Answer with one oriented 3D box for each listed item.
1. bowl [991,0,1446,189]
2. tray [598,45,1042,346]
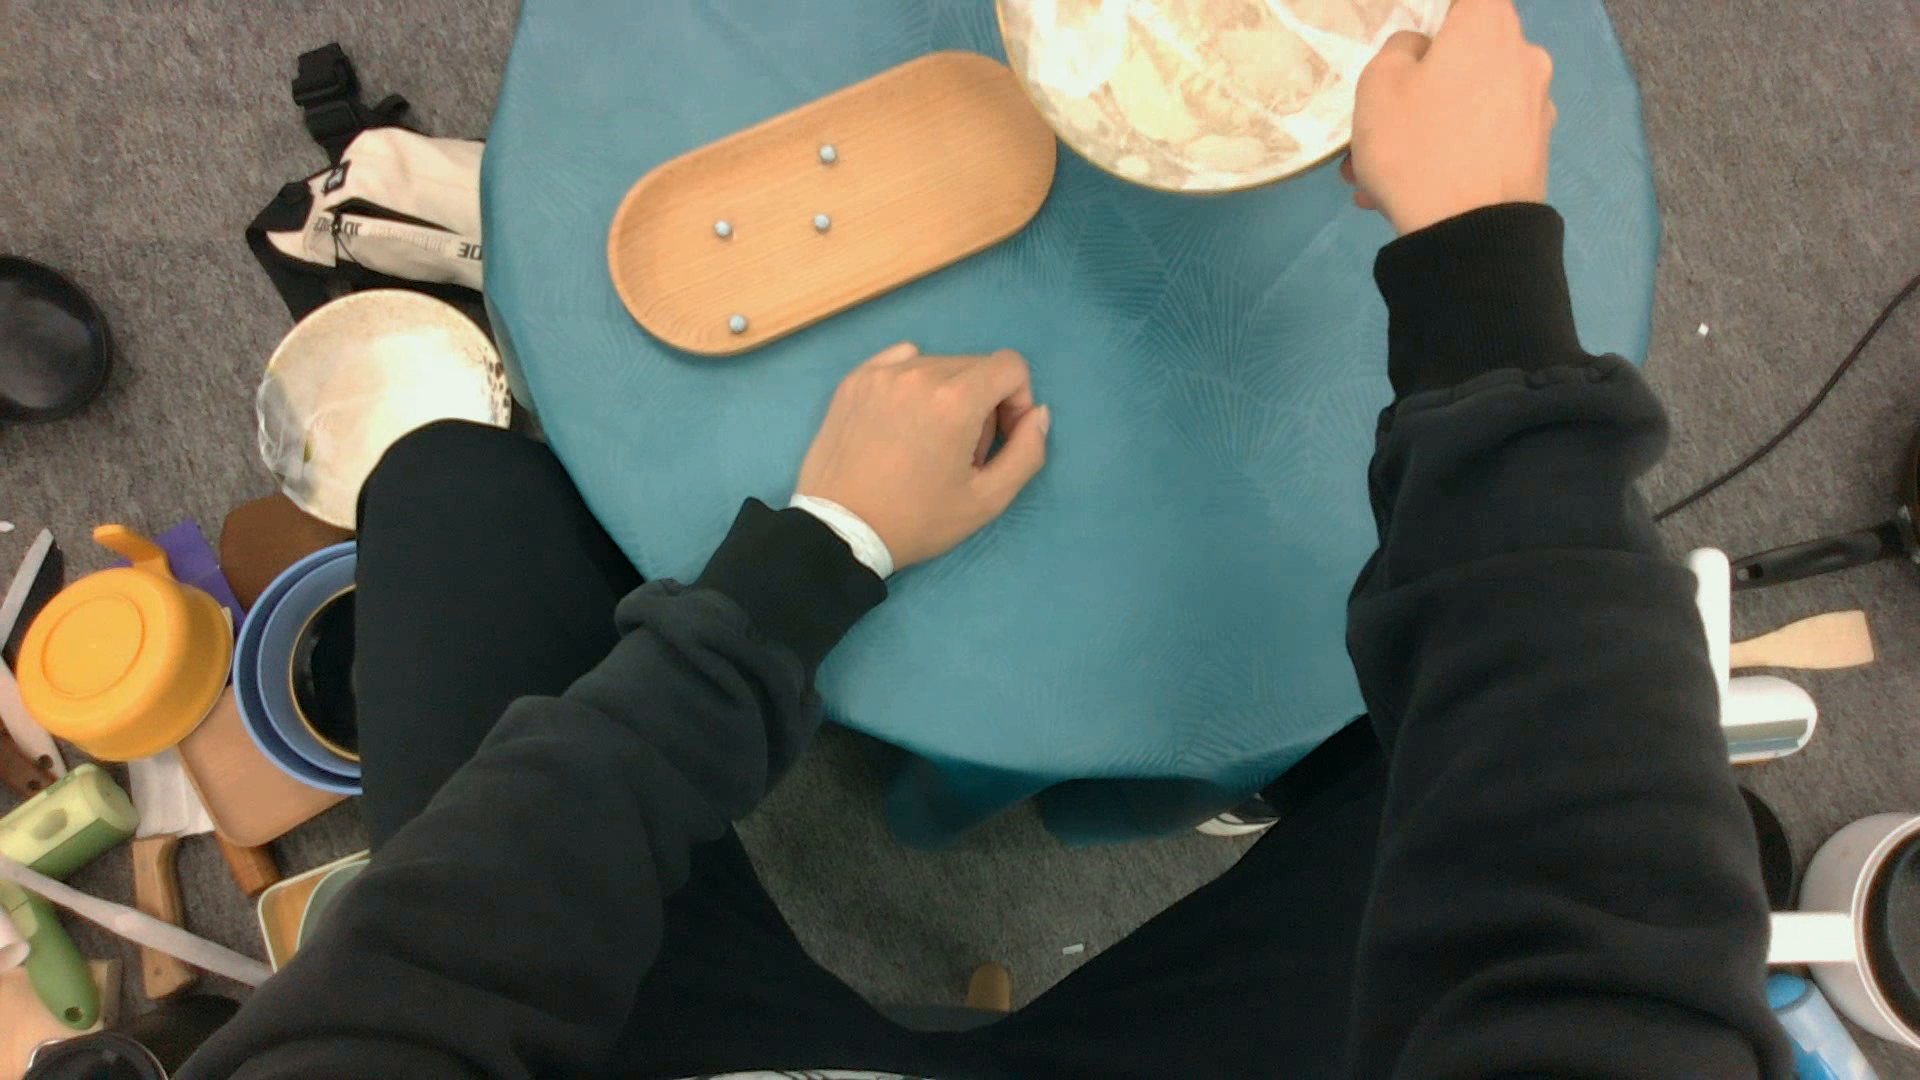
[{"bbox_3d":[0.118,-0.257,0.620,0.214,0.095,0.214,2,97,20],"label":"bowl"},{"bbox_3d":[-0.068,-0.172,0.688,0.231,0.020,0.102,-26,86,-10],"label":"tray"}]
